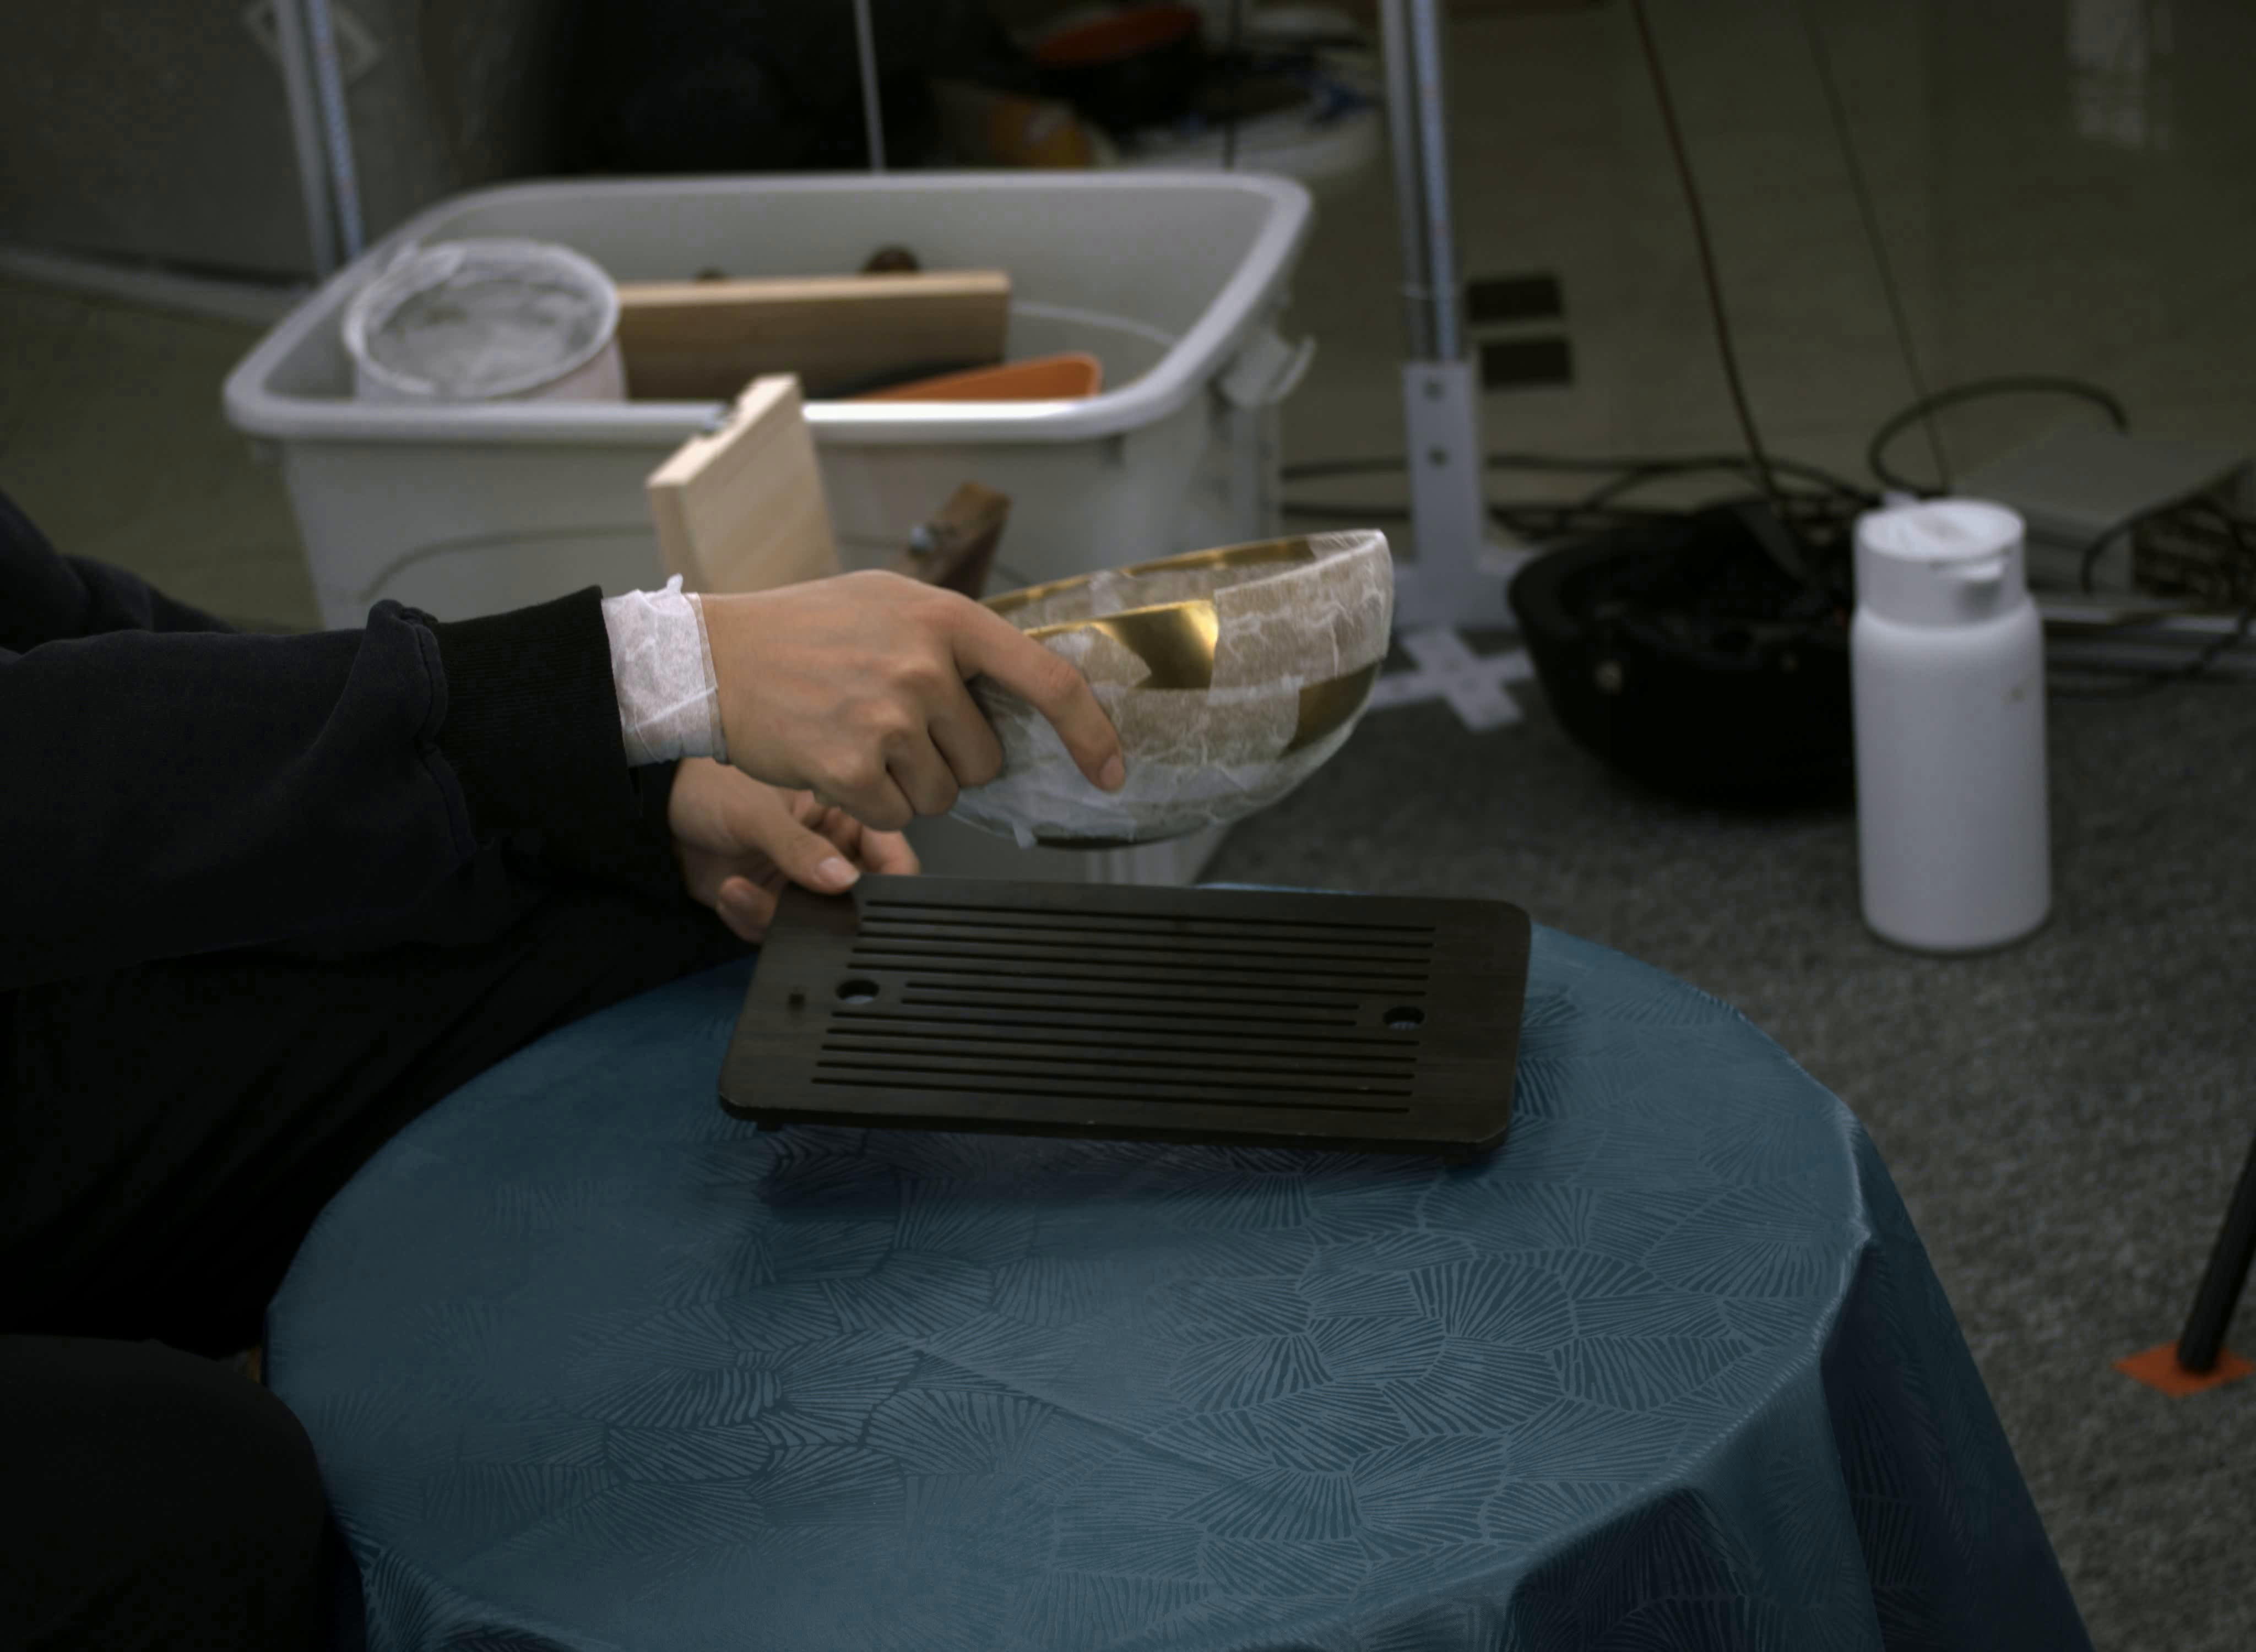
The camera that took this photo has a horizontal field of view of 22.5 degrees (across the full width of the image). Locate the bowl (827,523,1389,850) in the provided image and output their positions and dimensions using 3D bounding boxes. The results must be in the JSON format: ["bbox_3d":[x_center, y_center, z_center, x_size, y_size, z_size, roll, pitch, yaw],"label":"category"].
[{"bbox_3d":[-0.001,-0.044,2.065,0.214,0.095,0.213,-12,9,2],"label":"bowl"}]

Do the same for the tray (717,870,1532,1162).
[{"bbox_3d":[0.002,0.074,2.220,0.305,0.019,0.167,3,32,7],"label":"tray"}]
